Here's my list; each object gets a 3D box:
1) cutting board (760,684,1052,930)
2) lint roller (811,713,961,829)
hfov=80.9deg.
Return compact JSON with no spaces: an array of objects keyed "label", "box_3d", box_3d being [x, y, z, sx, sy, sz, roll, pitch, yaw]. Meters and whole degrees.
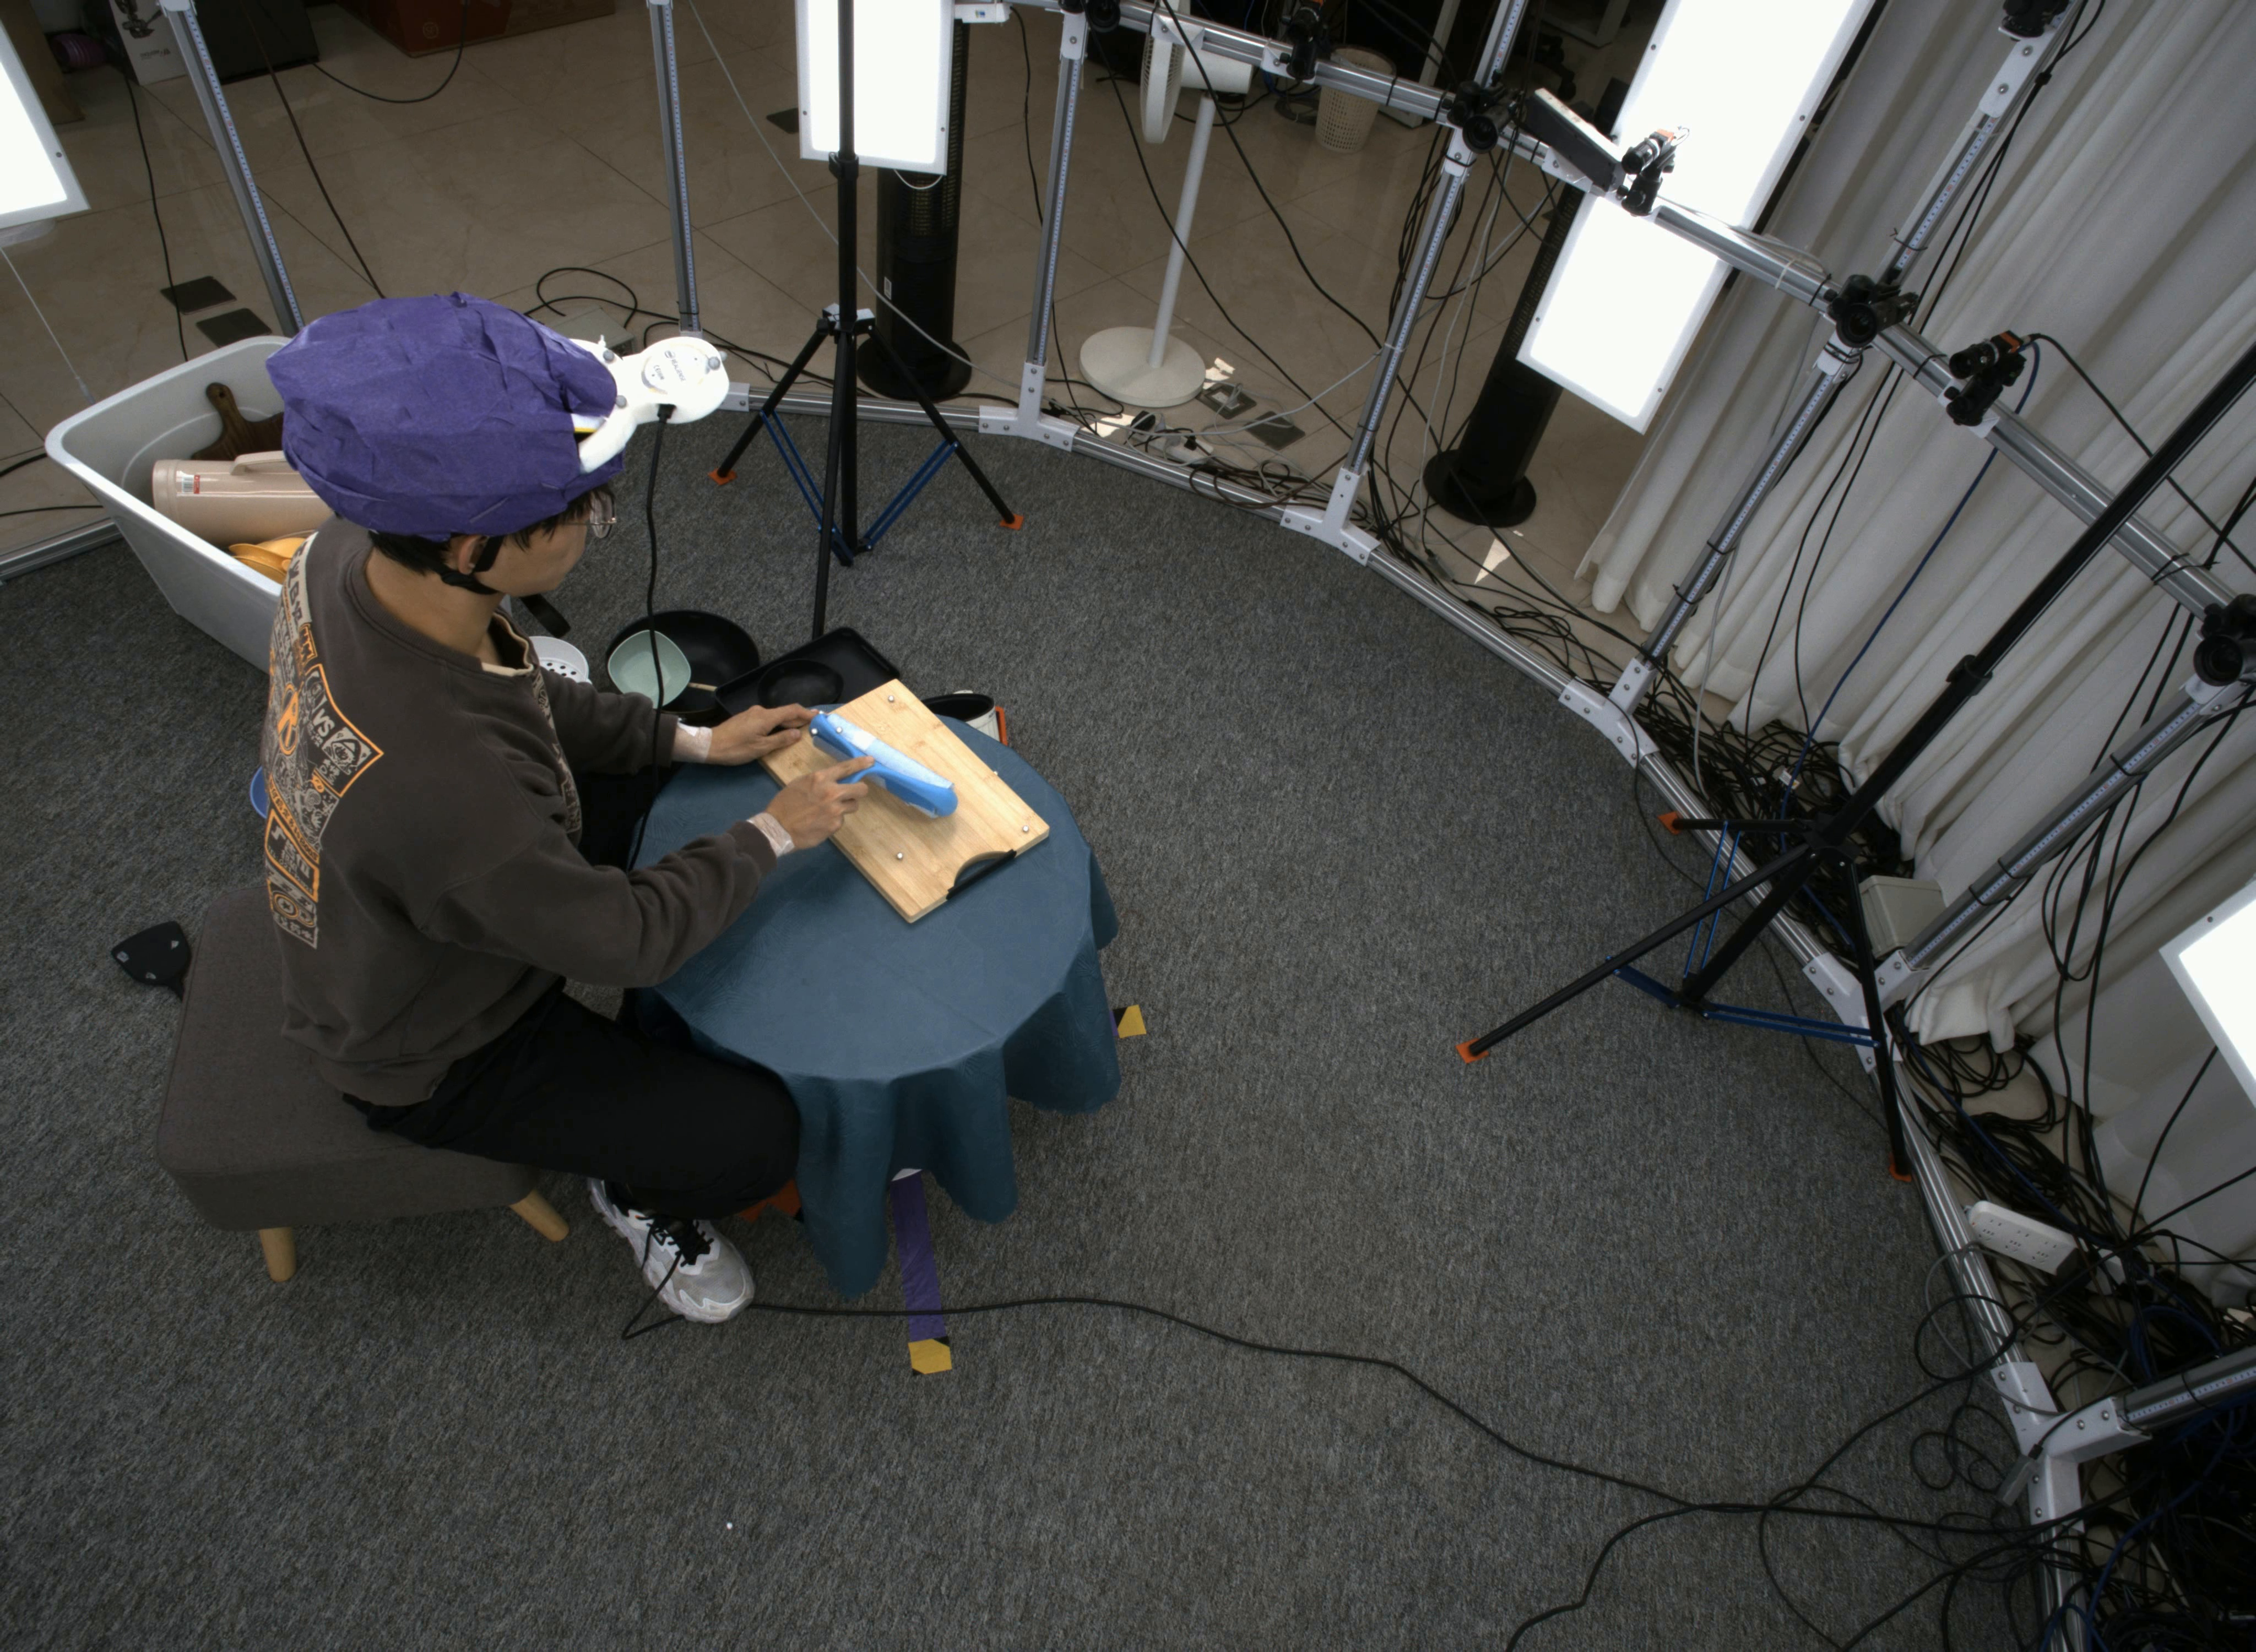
[{"label":"cutting board","box_3d":[-0.305,-0.039,1.786,0.341,0.024,0.251,43,57,18]},{"label":"lint roller","box_3d":[-0.344,-0.059,1.698,0.227,0.069,0.179,30,32,2]}]
